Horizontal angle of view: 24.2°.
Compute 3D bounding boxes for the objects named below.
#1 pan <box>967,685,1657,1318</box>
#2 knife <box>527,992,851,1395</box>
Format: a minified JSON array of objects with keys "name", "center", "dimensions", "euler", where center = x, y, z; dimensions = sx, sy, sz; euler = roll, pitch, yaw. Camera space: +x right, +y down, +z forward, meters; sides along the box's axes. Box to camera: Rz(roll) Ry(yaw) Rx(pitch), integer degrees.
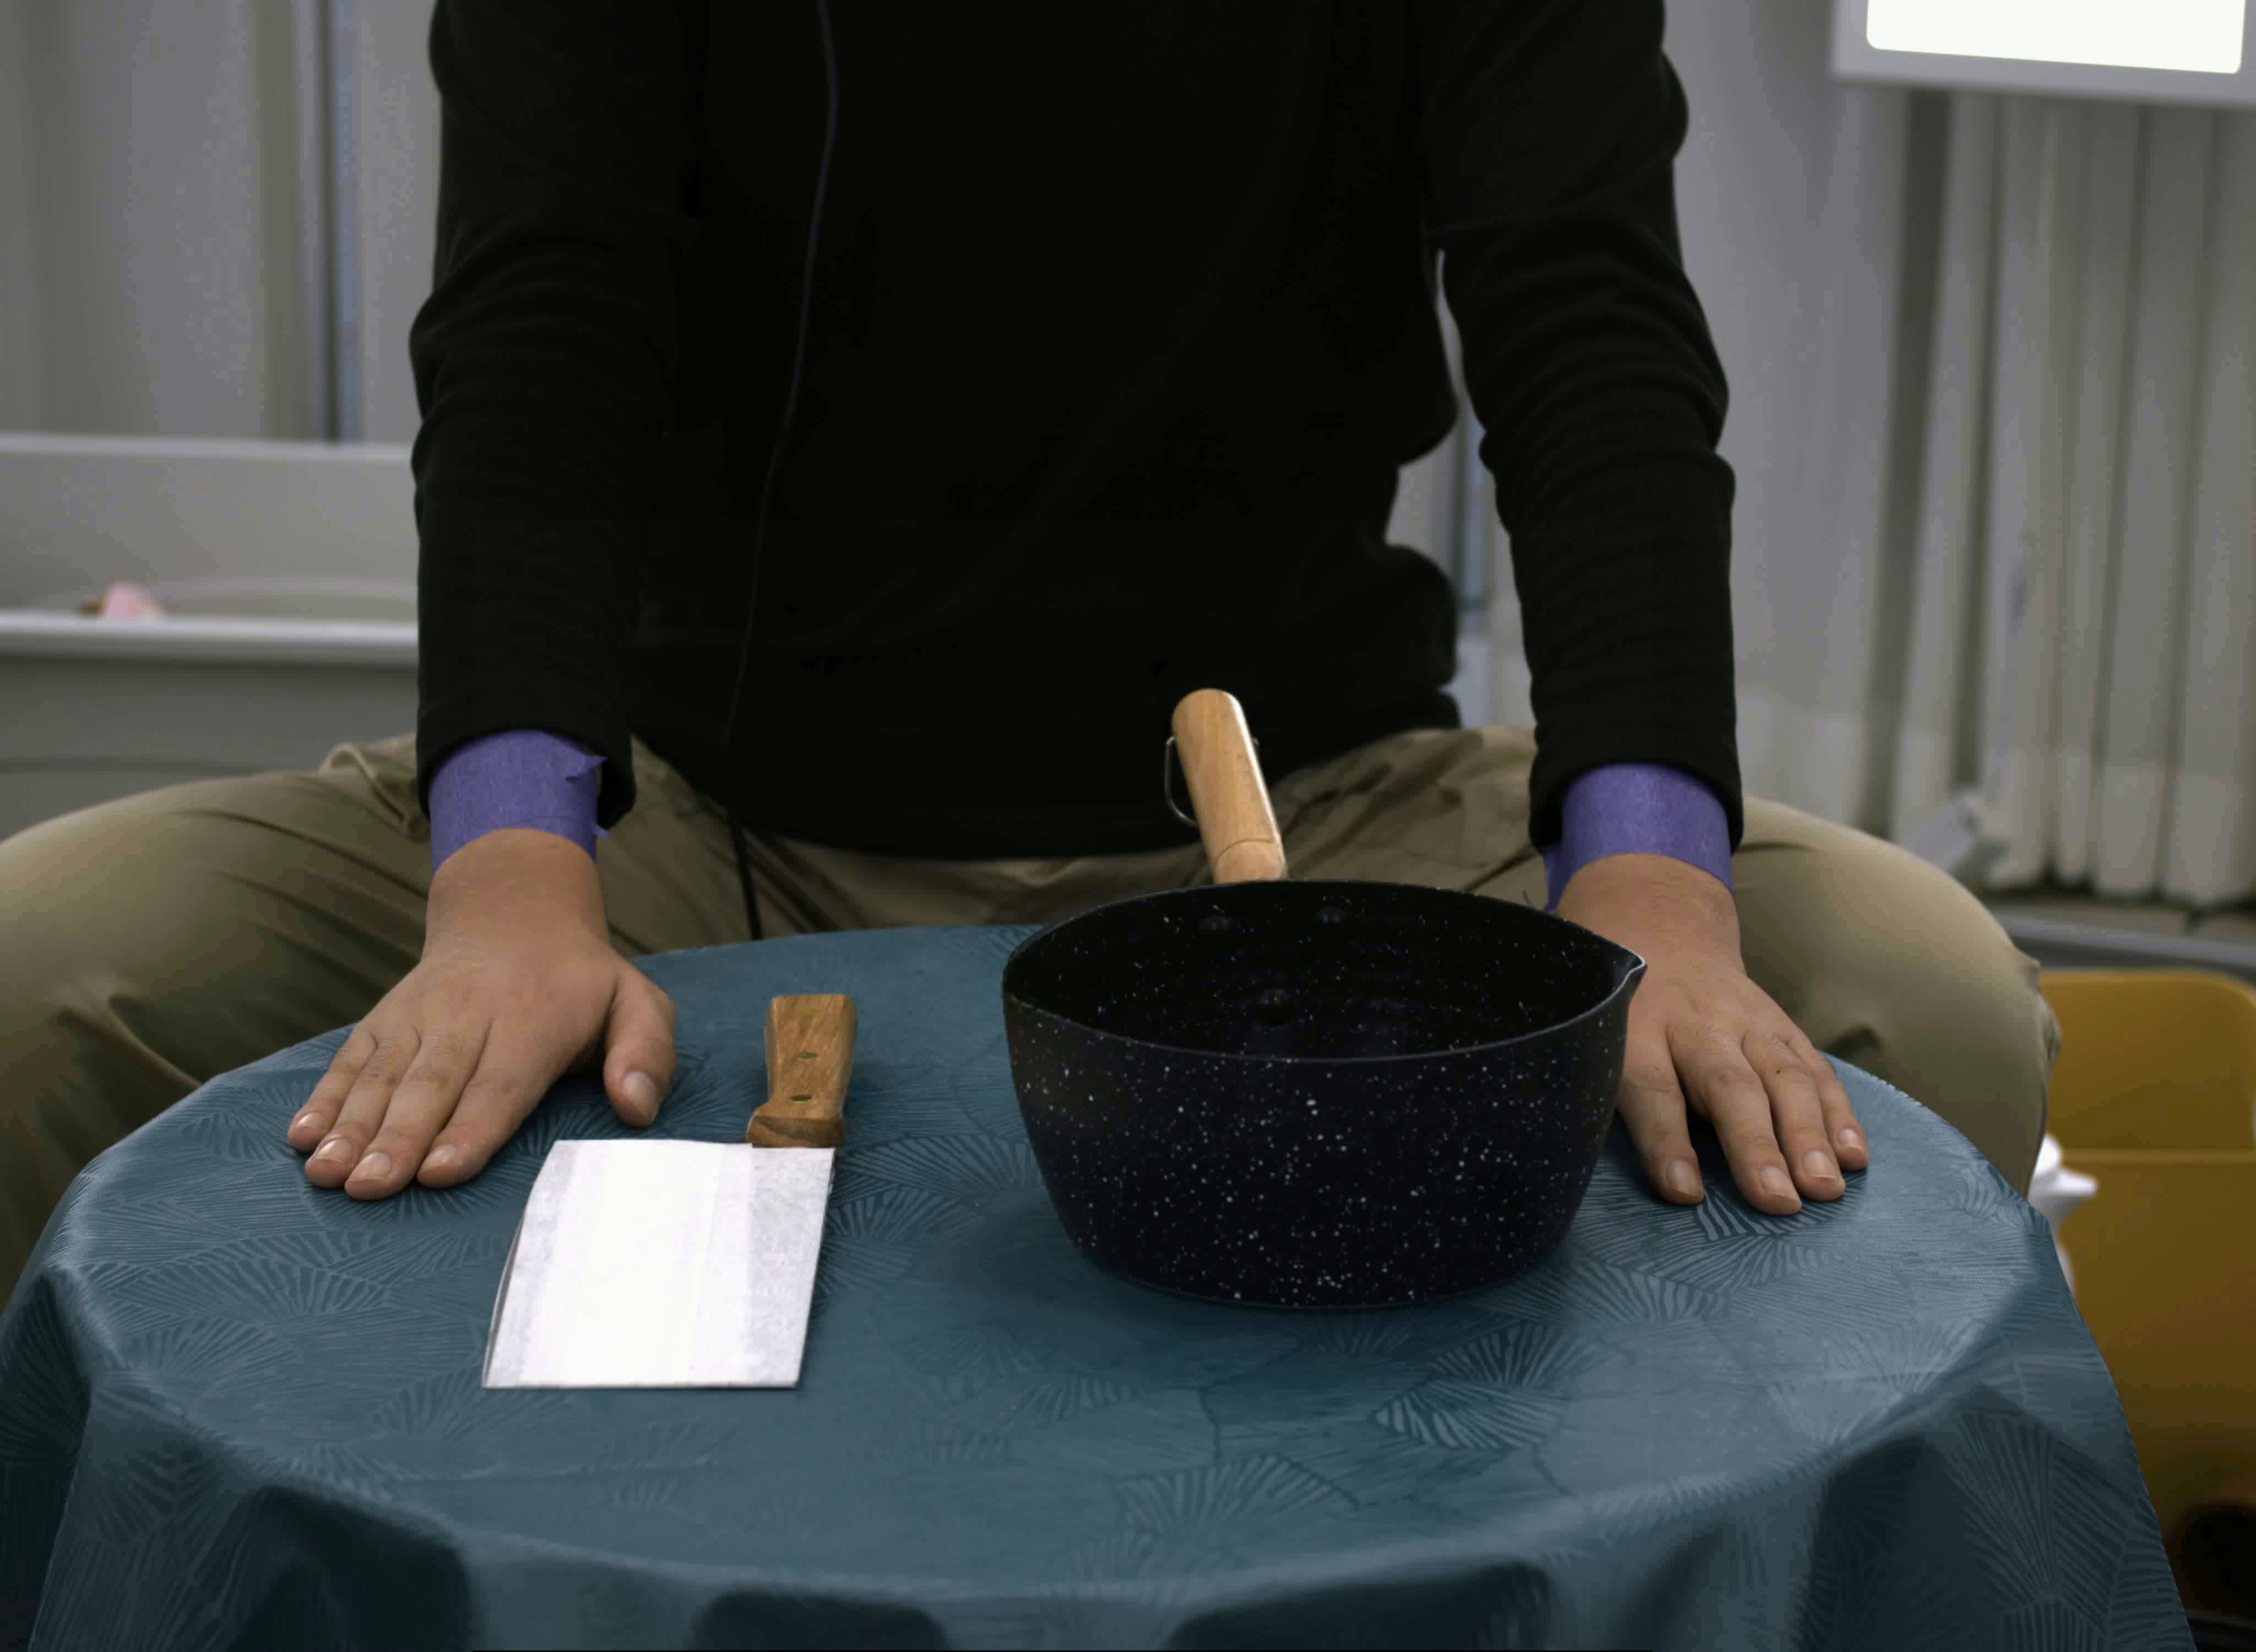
[{"name":"pan","center":[0.045,0.050,1.652],"dimensions":[0.207,0.109,0.340],"euler":[-2,17,-8]},{"name":"knife","center":[-0.133,0.109,1.601],"dimensions":[0.092,0.021,0.304],"euler":[0,18,1]}]
